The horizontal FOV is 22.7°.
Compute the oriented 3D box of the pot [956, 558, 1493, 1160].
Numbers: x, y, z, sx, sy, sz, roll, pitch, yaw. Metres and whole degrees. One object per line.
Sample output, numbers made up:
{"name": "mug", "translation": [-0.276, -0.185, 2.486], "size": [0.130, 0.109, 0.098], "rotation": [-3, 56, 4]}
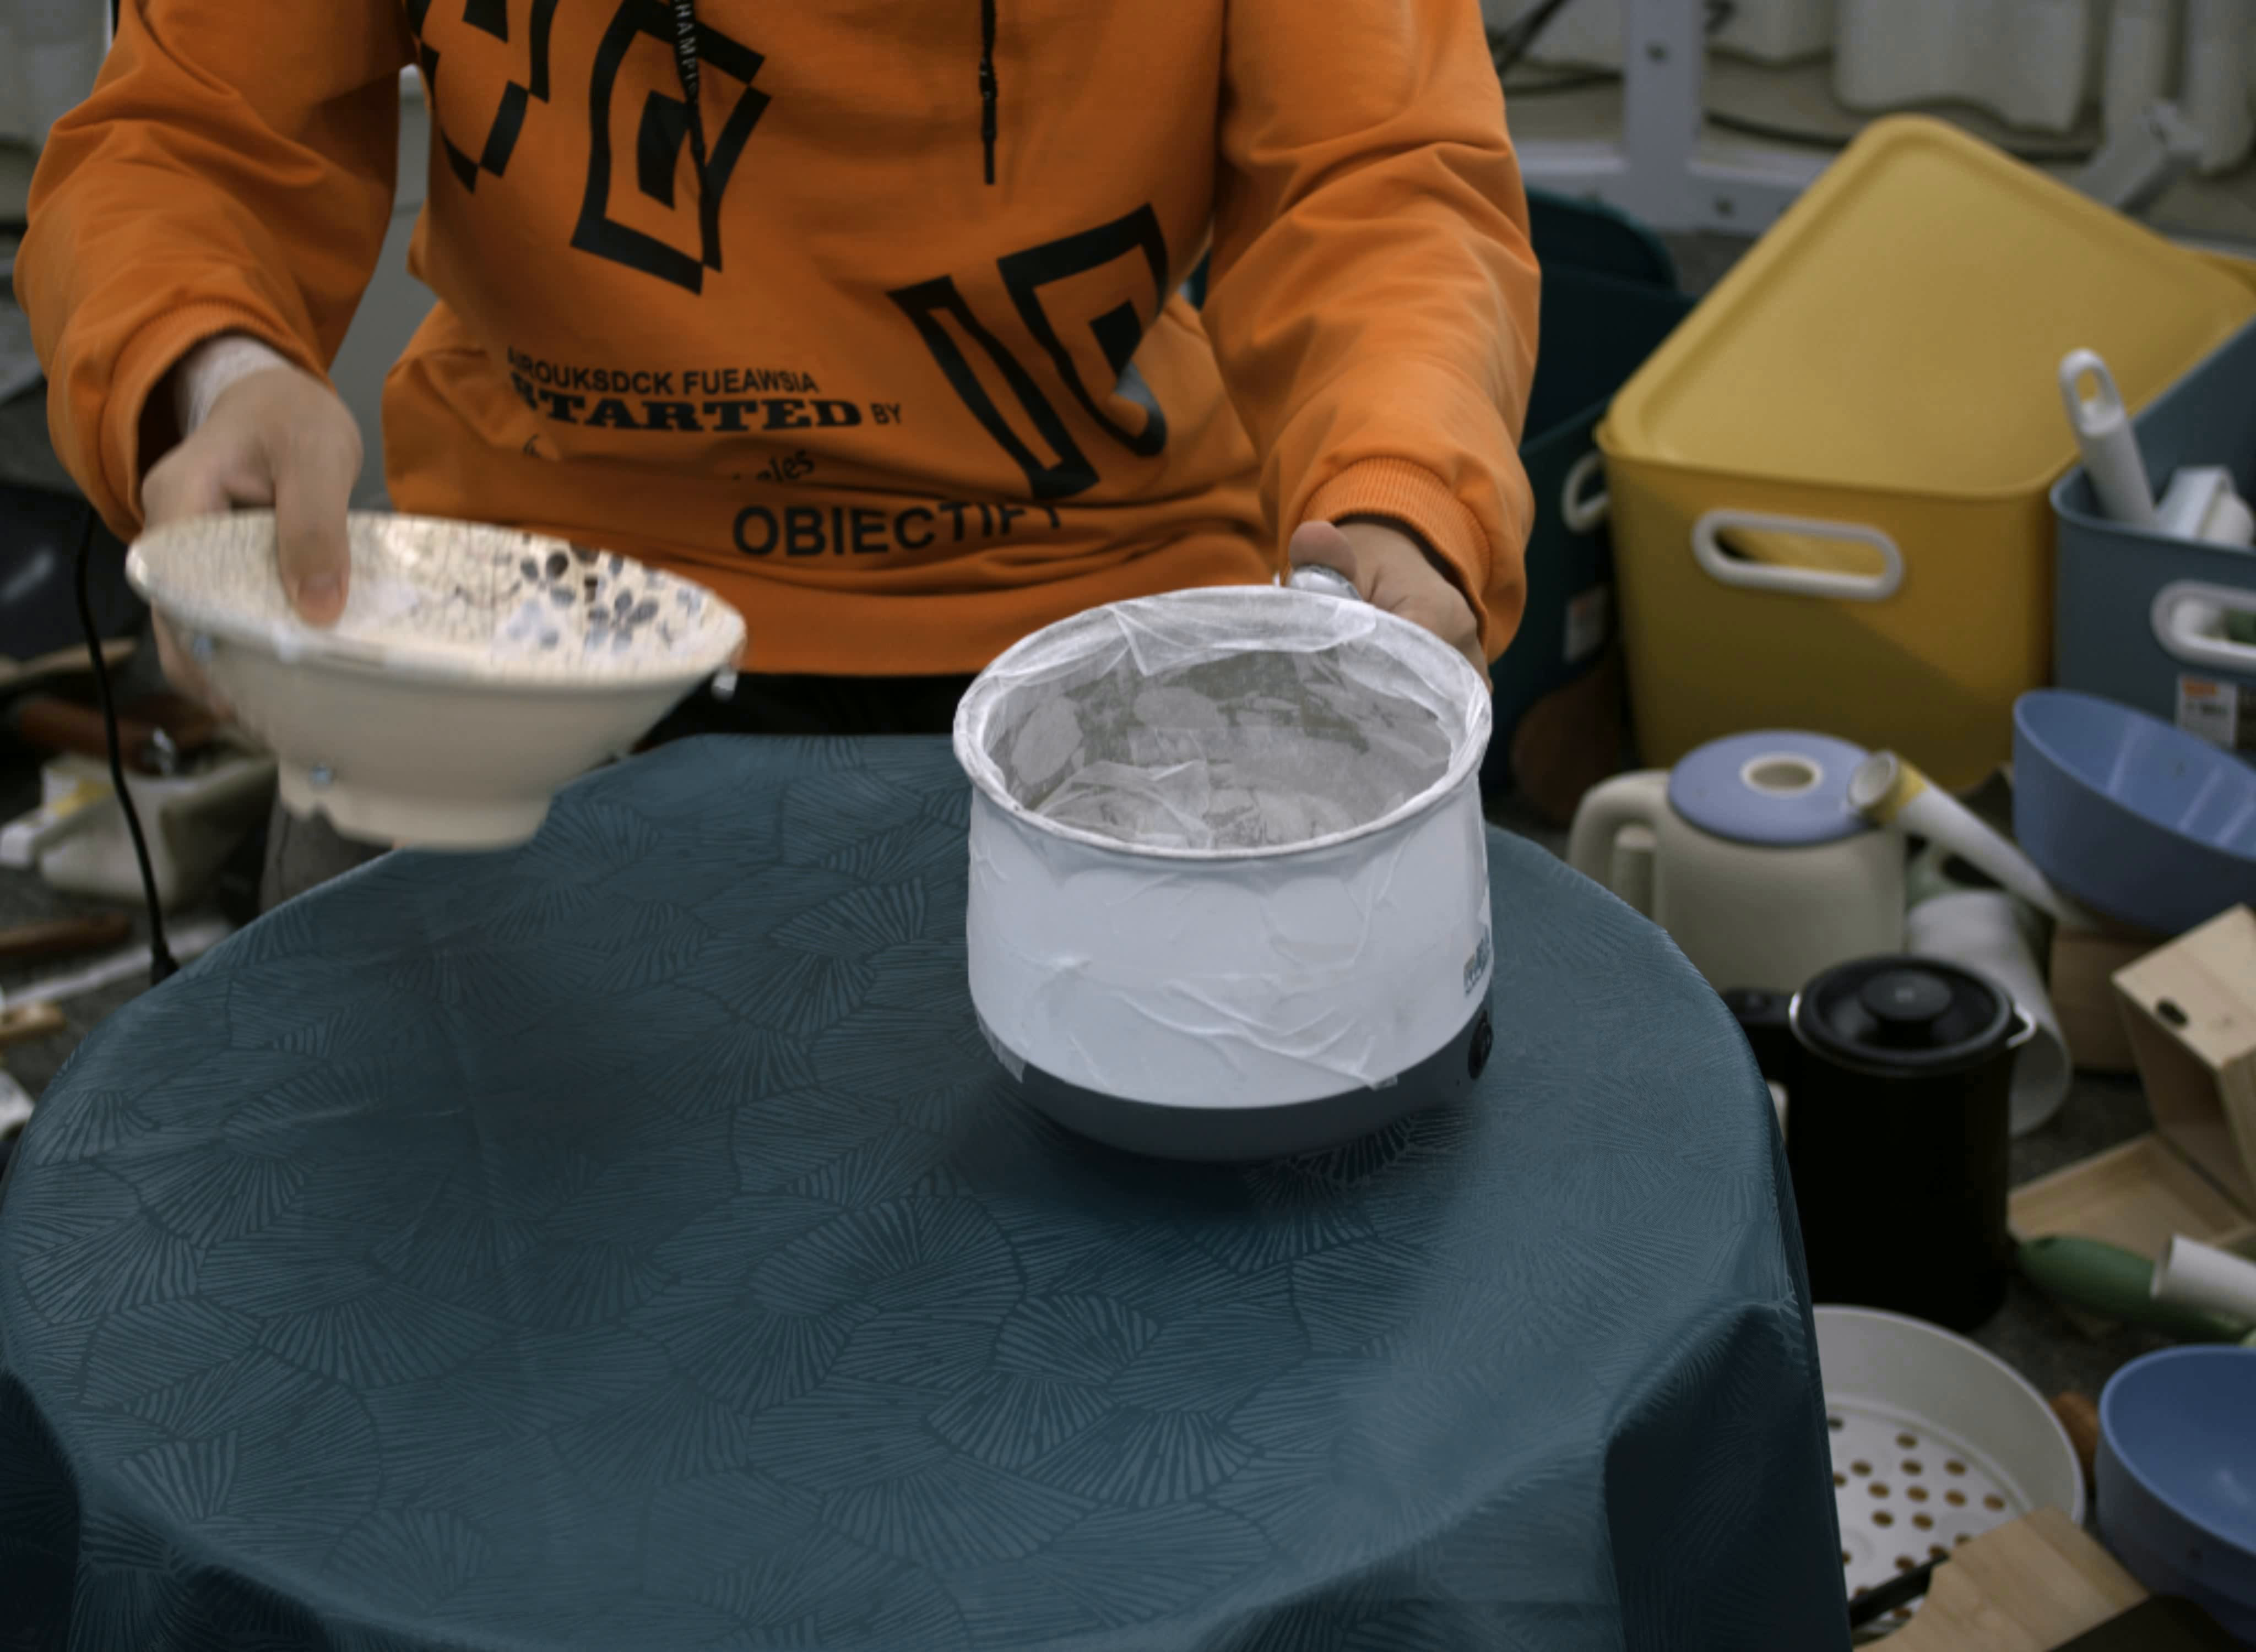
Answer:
{"name": "pot", "translation": [0.042, 0.003, 1.895], "size": [0.177, 0.135, 0.238], "rotation": [8, 31, 16]}

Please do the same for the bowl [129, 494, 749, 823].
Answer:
{"name": "bowl", "translation": [-0.229, -0.049, 1.840], "size": [0.203, 0.078, 0.205], "rotation": [9, 10, -1]}
